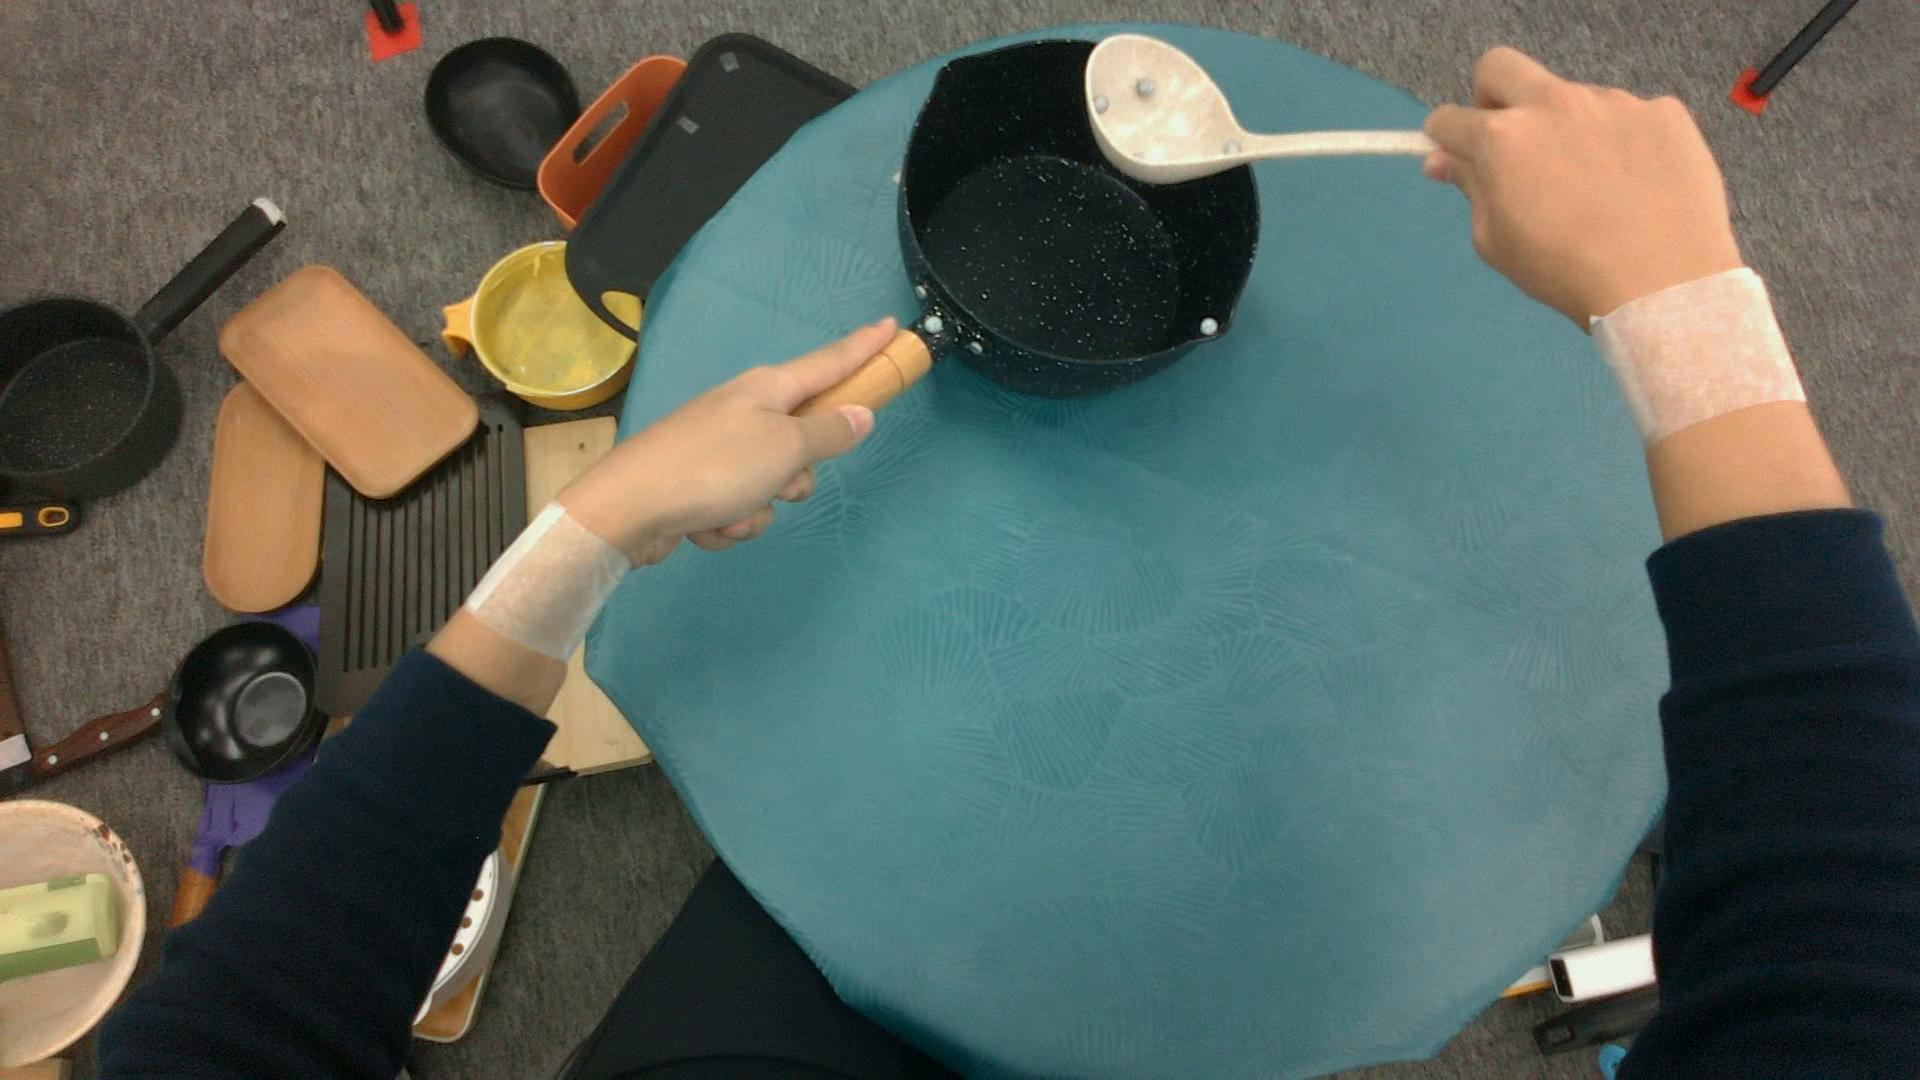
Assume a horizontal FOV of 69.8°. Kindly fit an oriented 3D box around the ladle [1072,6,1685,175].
[{"bbox_3d":[0.173,-0.201,0.607,0.274,0.069,0.090,15,40,38],"label":"ladle"}]

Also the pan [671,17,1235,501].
[{"bbox_3d":[-0.009,-0.120,0.690,0.207,0.108,0.344,43,70,4],"label":"pan"}]
